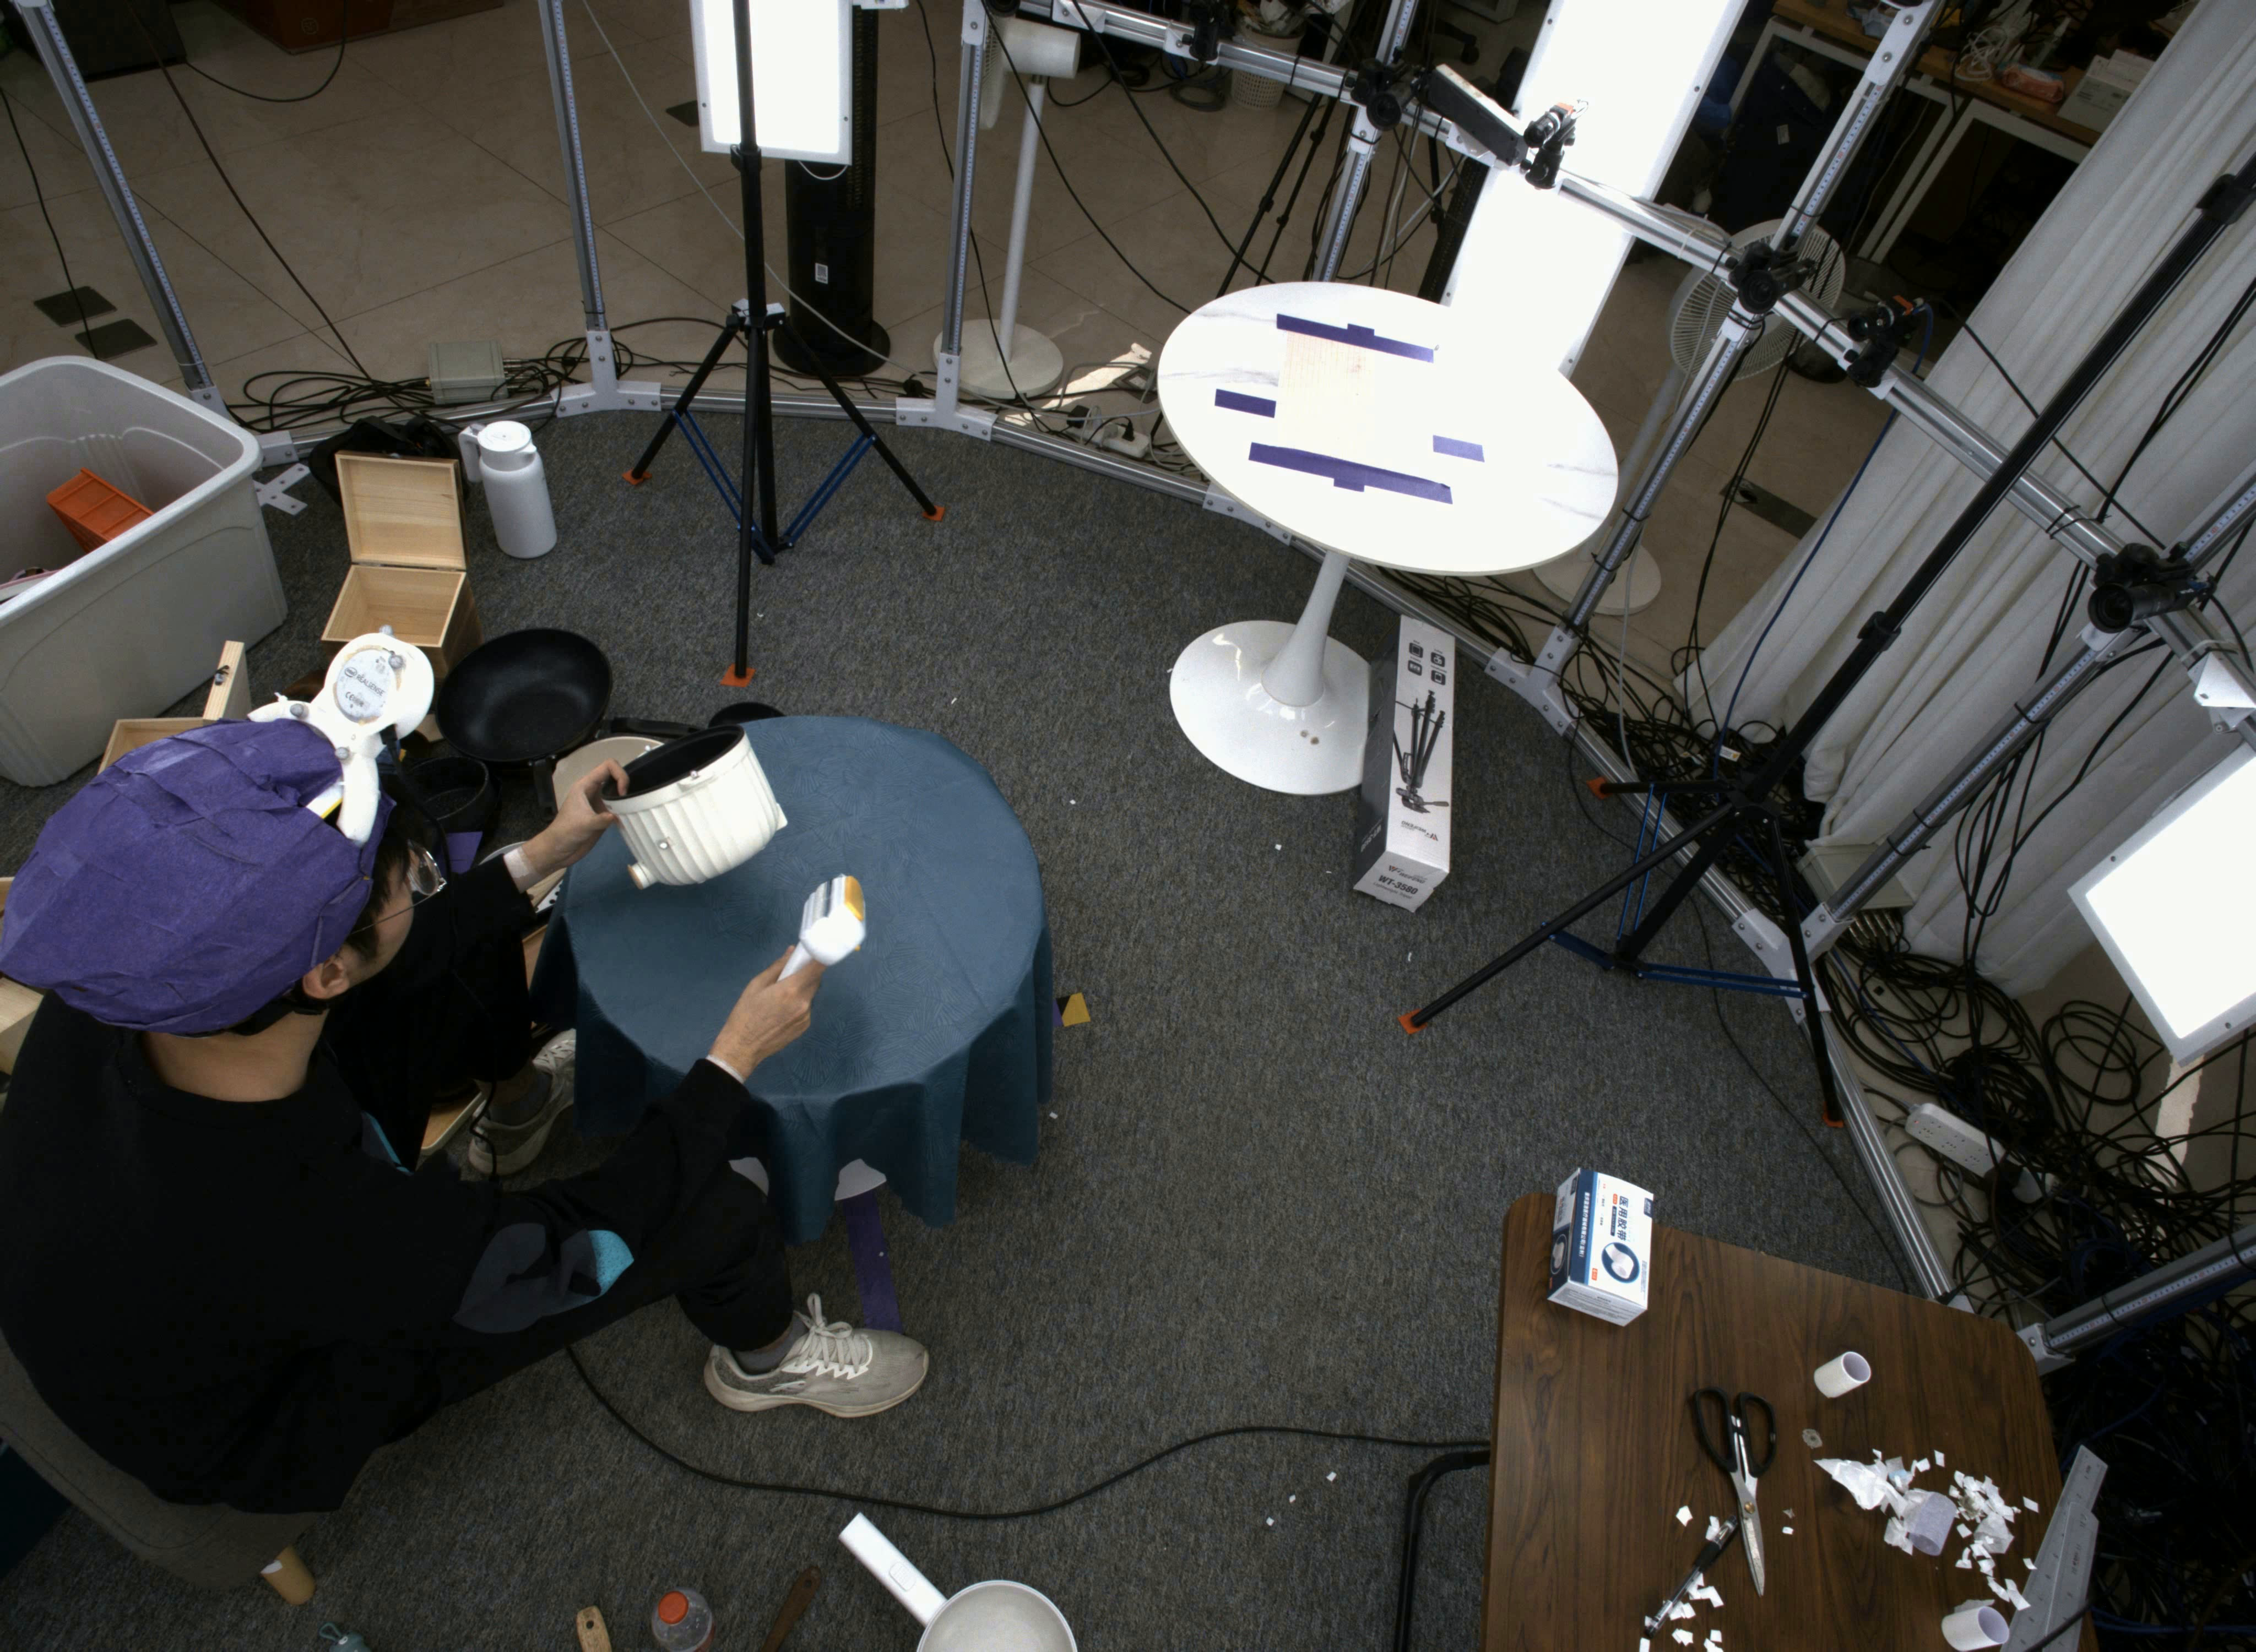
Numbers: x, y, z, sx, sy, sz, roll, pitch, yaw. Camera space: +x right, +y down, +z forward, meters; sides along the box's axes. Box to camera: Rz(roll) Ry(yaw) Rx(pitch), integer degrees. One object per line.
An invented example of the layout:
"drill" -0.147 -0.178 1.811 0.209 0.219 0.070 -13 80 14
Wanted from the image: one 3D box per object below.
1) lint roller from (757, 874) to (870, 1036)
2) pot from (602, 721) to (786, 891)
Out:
"lint roller" -0.369 0.151 1.479 0.076 0.192 0.187 44 3 -23
"pot" -0.517 -0.020 1.523 0.191 0.147 0.232 -30 25 -27
